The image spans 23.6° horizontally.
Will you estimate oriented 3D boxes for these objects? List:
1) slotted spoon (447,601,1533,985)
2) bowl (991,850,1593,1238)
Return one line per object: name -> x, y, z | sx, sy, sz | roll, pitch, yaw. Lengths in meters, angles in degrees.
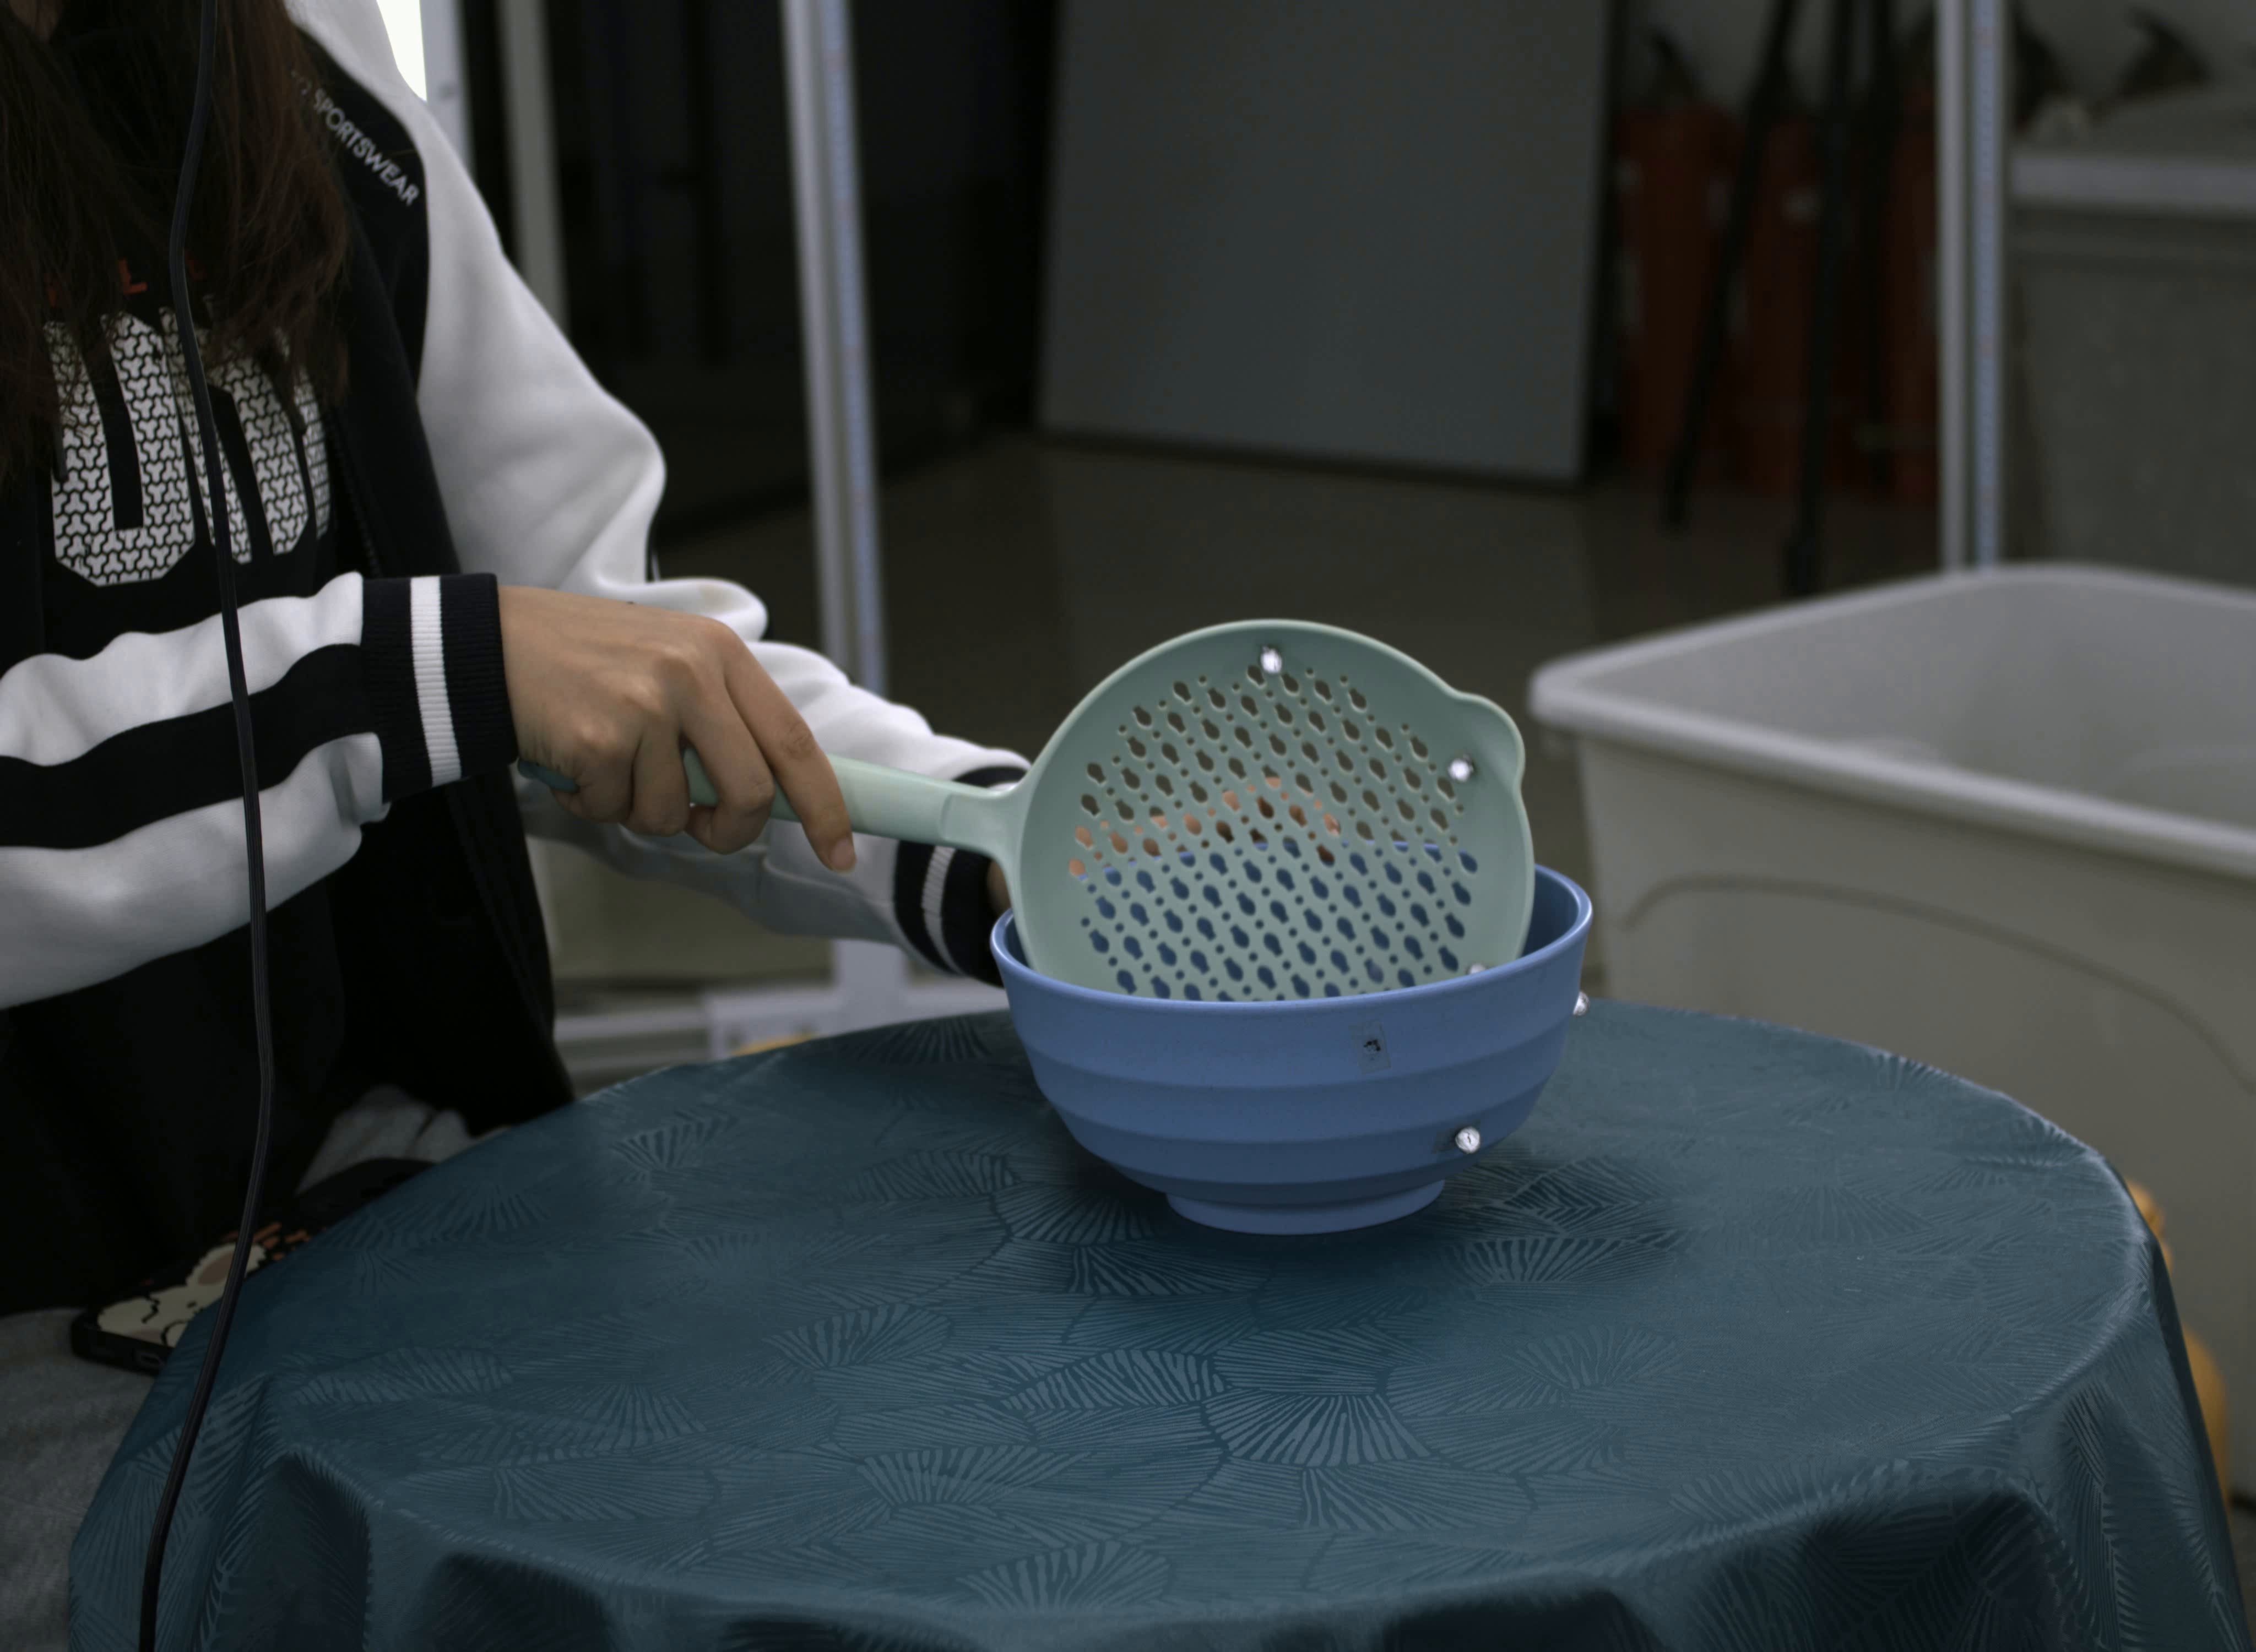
slotted spoon -> -0.047, -0.006, 1.759 | 0.353, 0.171, 0.075 | 10, 5, -5
bowl -> 0.055, 0.074, 1.746 | 0.194, 0.096, 0.197 | -4, 14, 0
